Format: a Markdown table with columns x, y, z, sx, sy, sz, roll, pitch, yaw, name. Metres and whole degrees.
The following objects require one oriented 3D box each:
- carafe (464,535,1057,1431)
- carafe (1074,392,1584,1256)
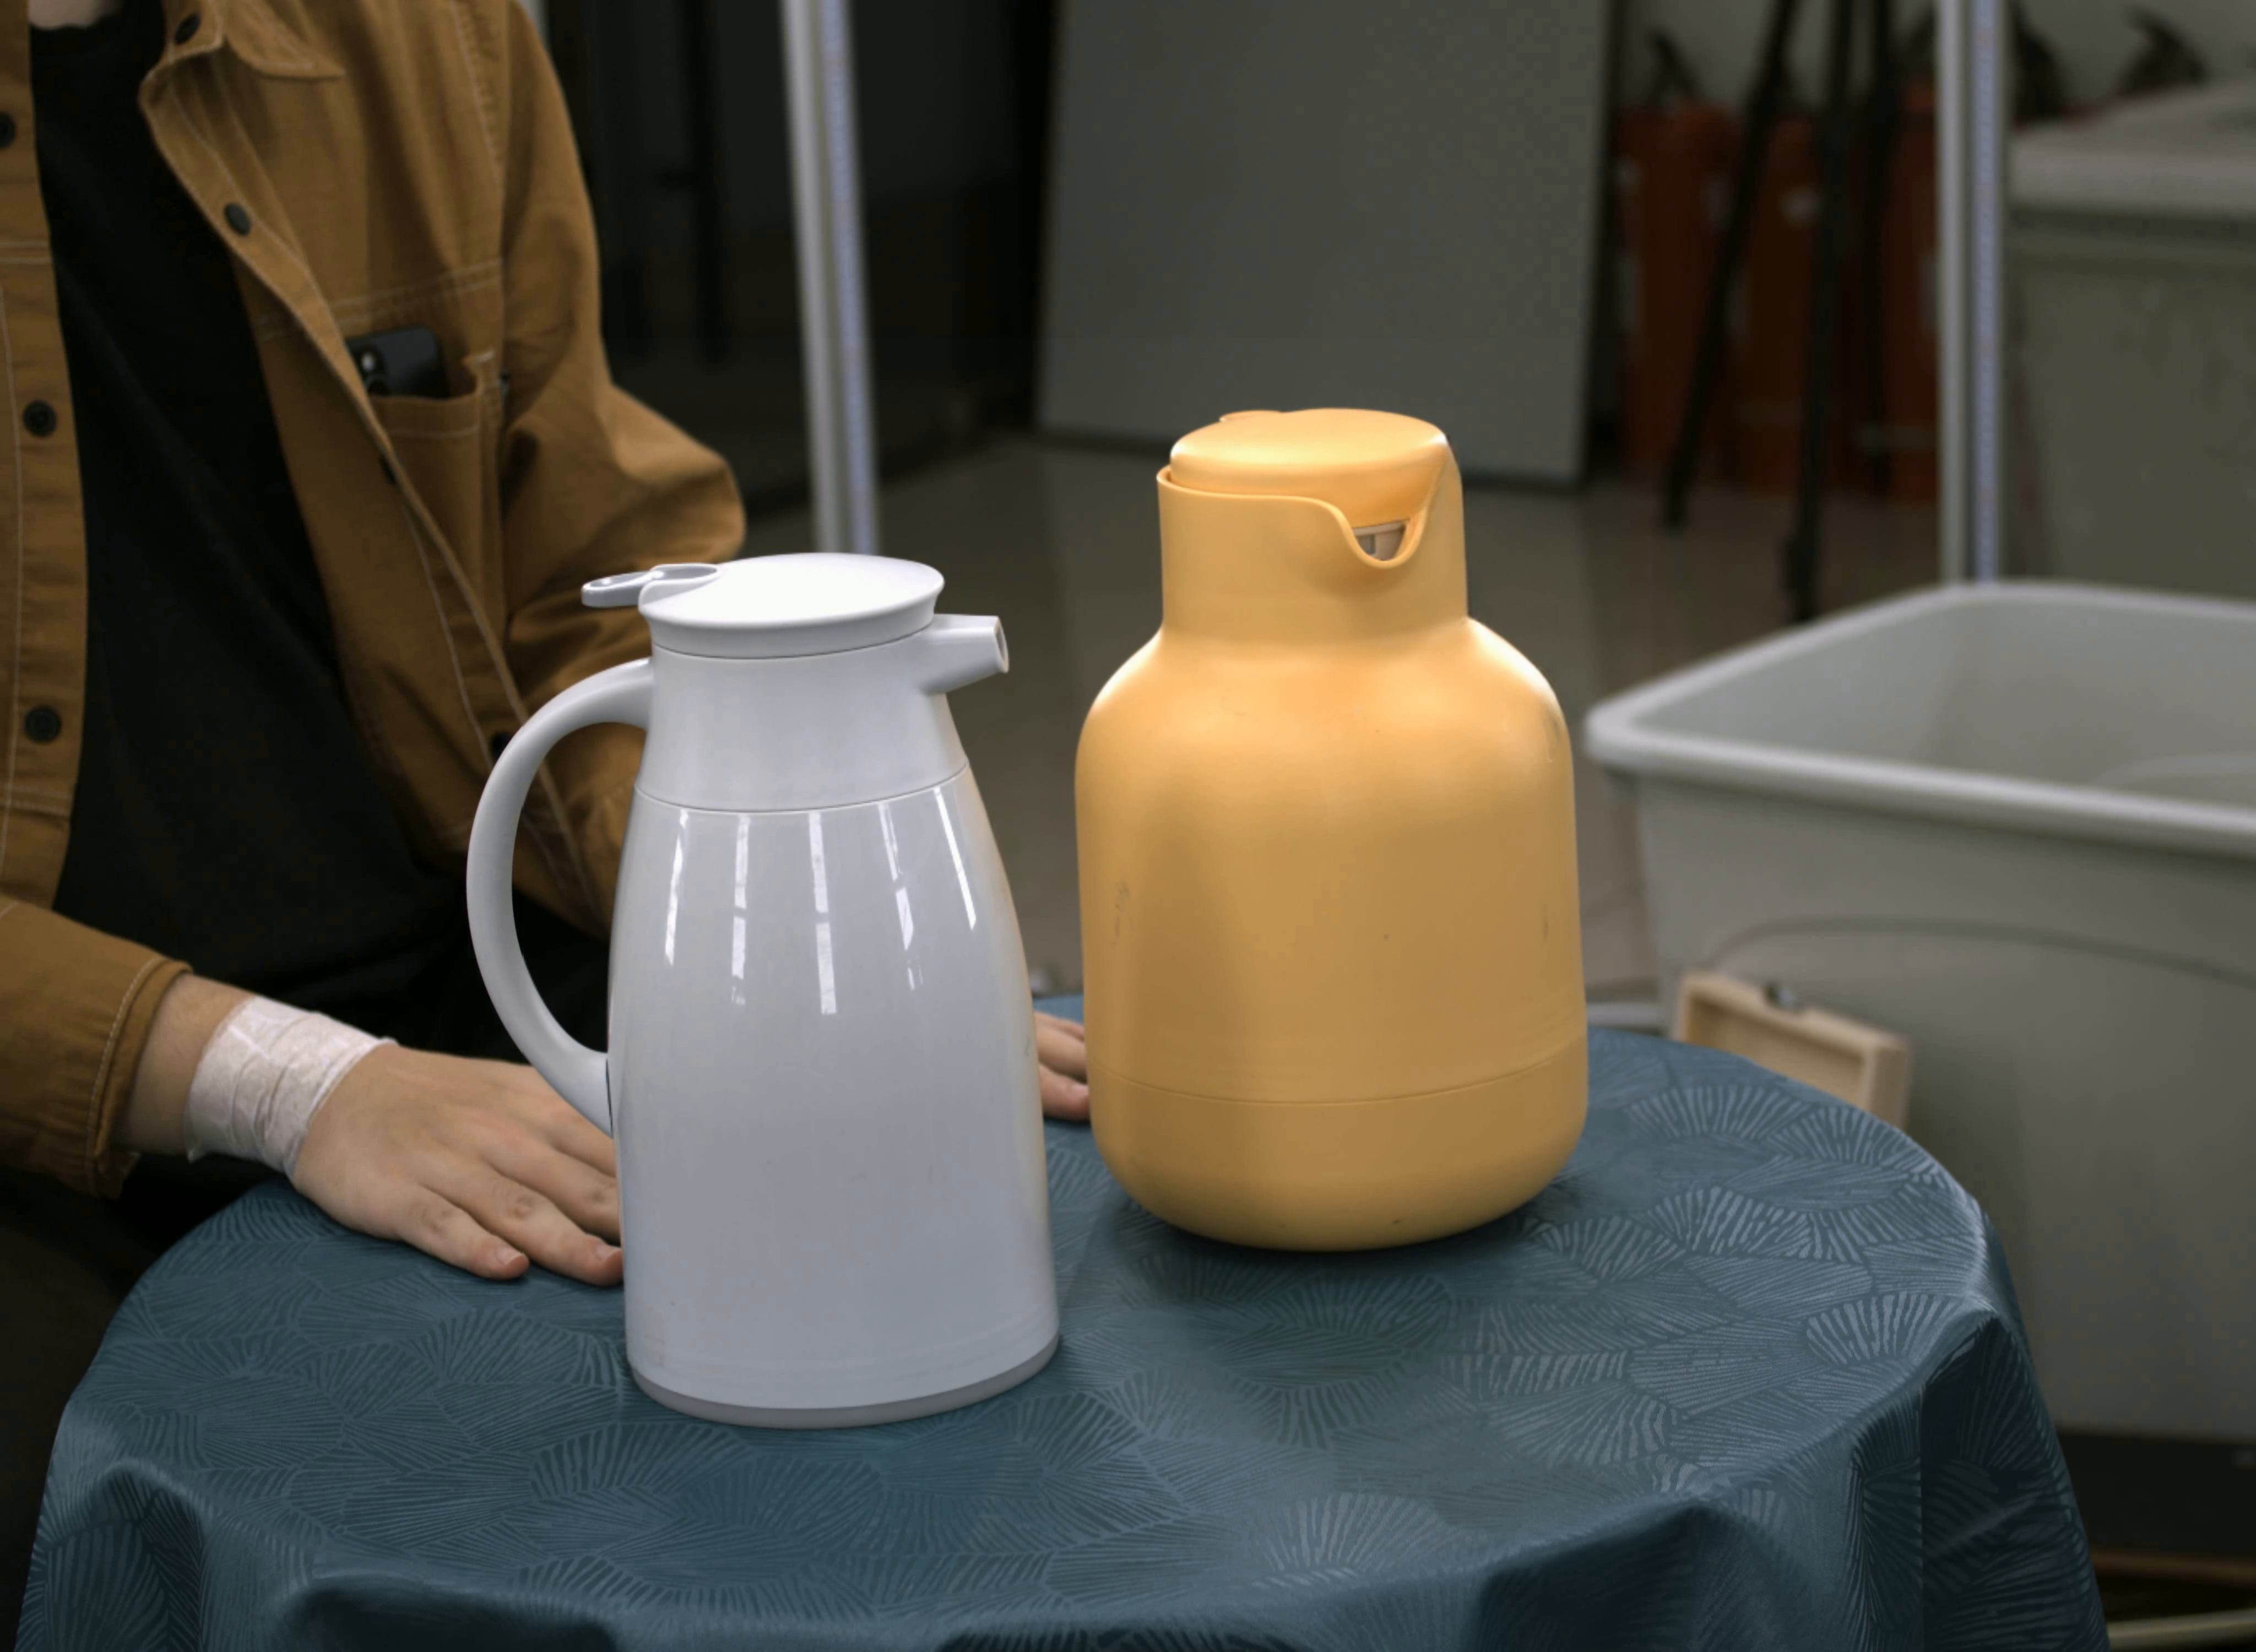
| x | y | z | sx | sy | sz | roll | pitch | yaw | name |
| --- | --- | --- | --- | --- | --- | --- | --- | --- | --- |
| -0.112 | 0.041 | 1.610 | 0.166 | 0.251 | 0.132 | -3 | 13 | 5 | carafe |
| 0.059 | -0.009 | 1.739 | 0.160 | 0.263 | 0.204 | -5 | 15 | -13 | carafe |
